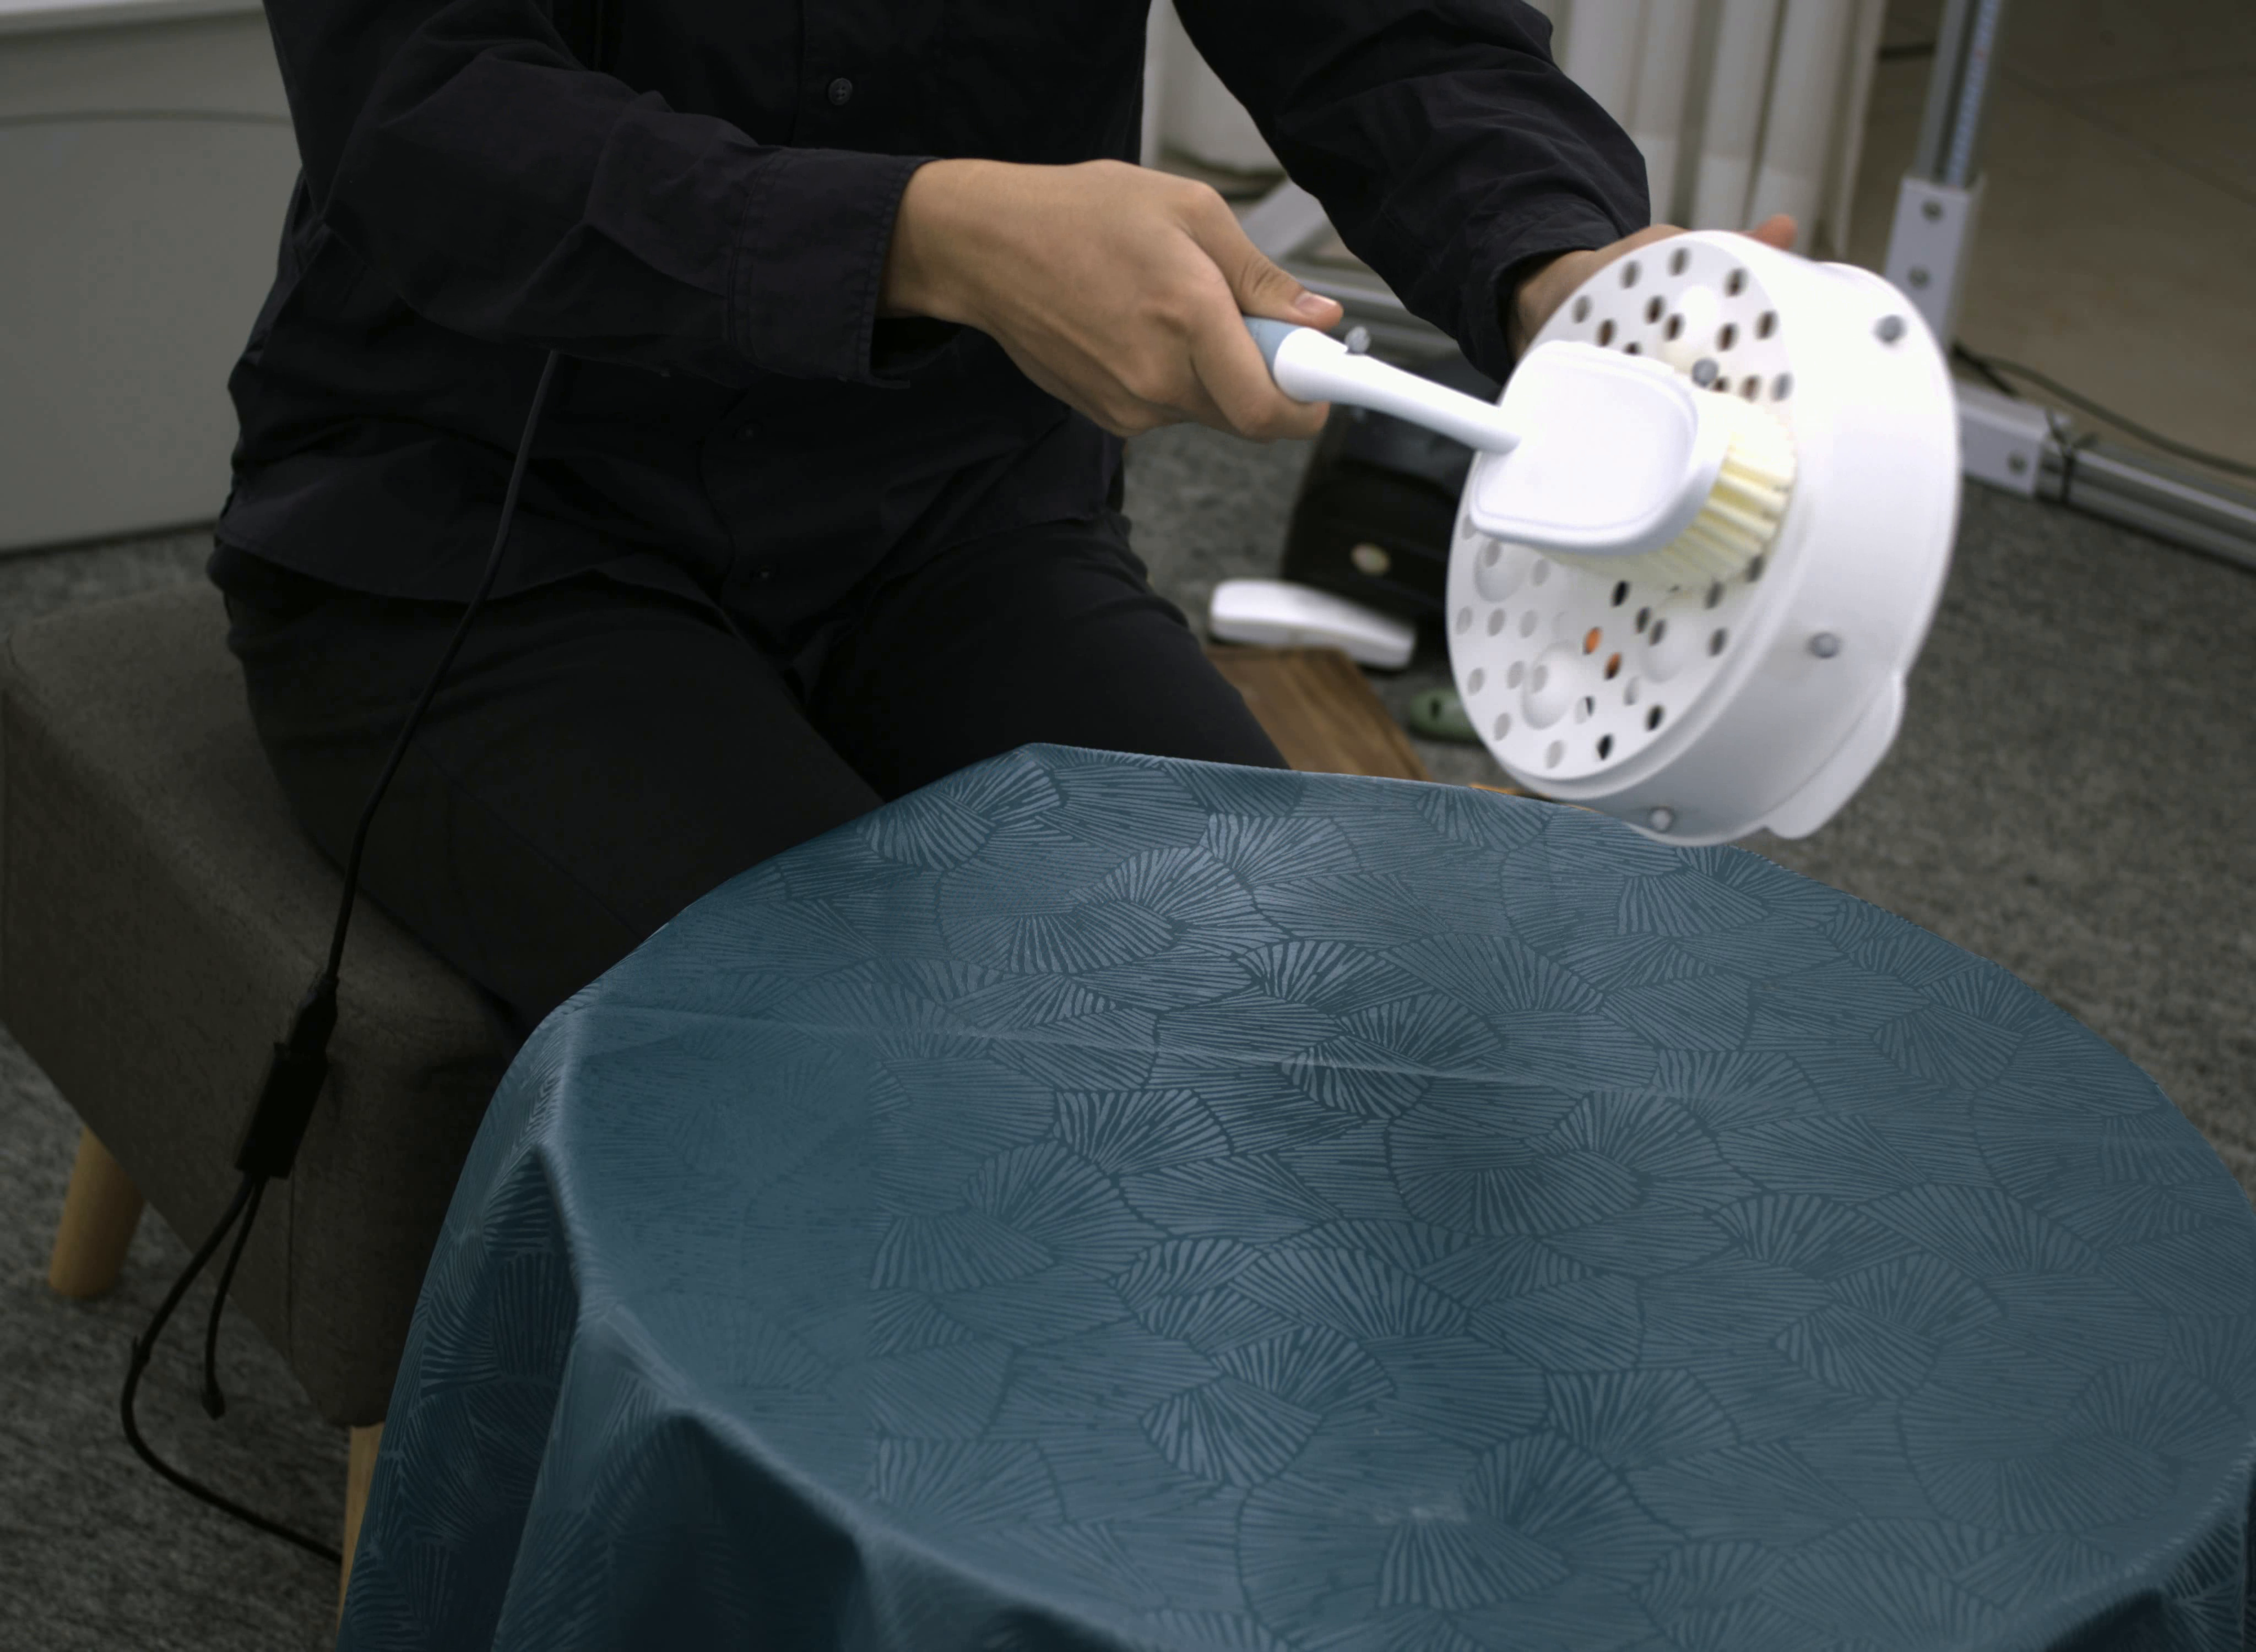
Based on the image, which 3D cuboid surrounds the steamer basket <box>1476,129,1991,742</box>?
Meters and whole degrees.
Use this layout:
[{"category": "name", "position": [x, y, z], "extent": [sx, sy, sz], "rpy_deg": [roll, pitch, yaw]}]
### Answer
[{"category": "steamer basket", "position": [0.195, -0.132, 1.771], "extent": [0.068, 0.201, 0.233], "rpy_deg": [16, 37, -31]}]

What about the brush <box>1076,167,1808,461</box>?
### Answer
[{"category": "brush", "position": [0.111, -0.181, 1.794], "extent": [0.083, 0.084, 0.328], "rpy_deg": [-42, 37, -23]}]
